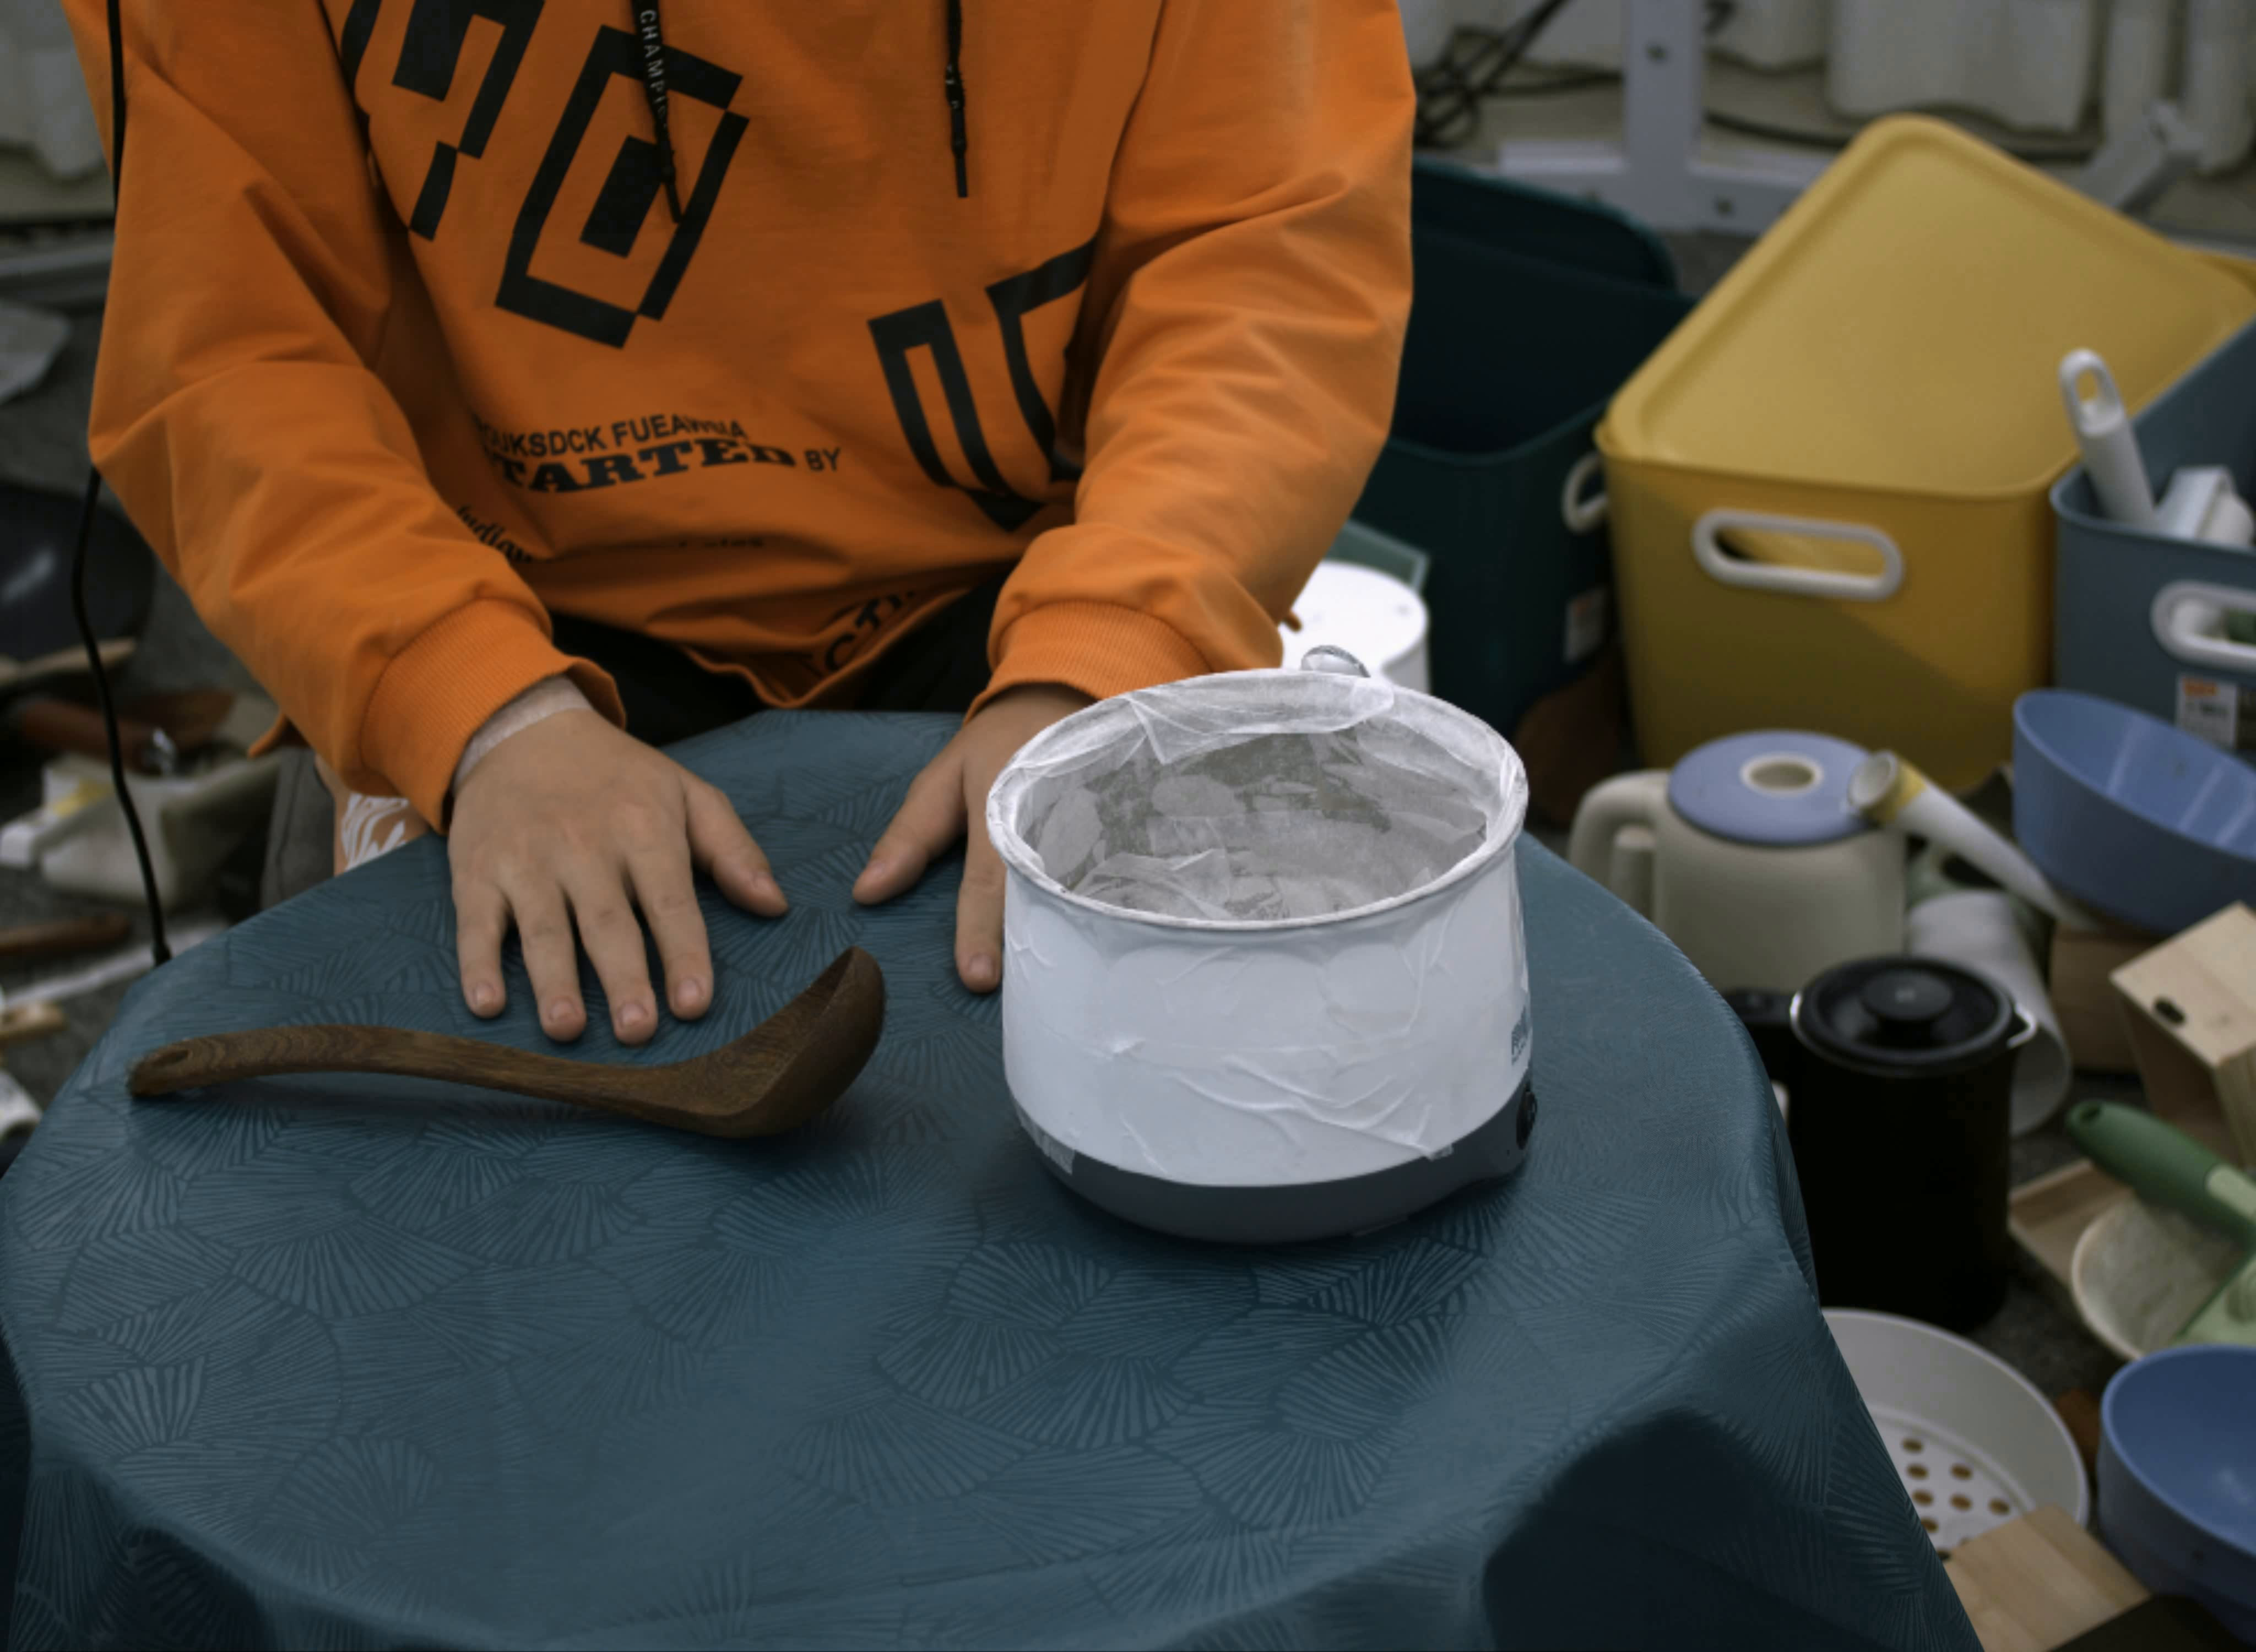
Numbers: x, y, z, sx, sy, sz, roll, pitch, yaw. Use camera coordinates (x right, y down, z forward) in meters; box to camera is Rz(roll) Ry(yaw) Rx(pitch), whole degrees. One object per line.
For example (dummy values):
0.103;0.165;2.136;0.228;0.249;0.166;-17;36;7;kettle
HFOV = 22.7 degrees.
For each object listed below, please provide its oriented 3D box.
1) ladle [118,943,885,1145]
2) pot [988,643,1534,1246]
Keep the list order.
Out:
-0.216;0.068;1.912;0.272;0.070;0.077;4;25;11;ladle
0.052;0.032;1.882;0.177;0.135;0.238;4;28;13;pot
